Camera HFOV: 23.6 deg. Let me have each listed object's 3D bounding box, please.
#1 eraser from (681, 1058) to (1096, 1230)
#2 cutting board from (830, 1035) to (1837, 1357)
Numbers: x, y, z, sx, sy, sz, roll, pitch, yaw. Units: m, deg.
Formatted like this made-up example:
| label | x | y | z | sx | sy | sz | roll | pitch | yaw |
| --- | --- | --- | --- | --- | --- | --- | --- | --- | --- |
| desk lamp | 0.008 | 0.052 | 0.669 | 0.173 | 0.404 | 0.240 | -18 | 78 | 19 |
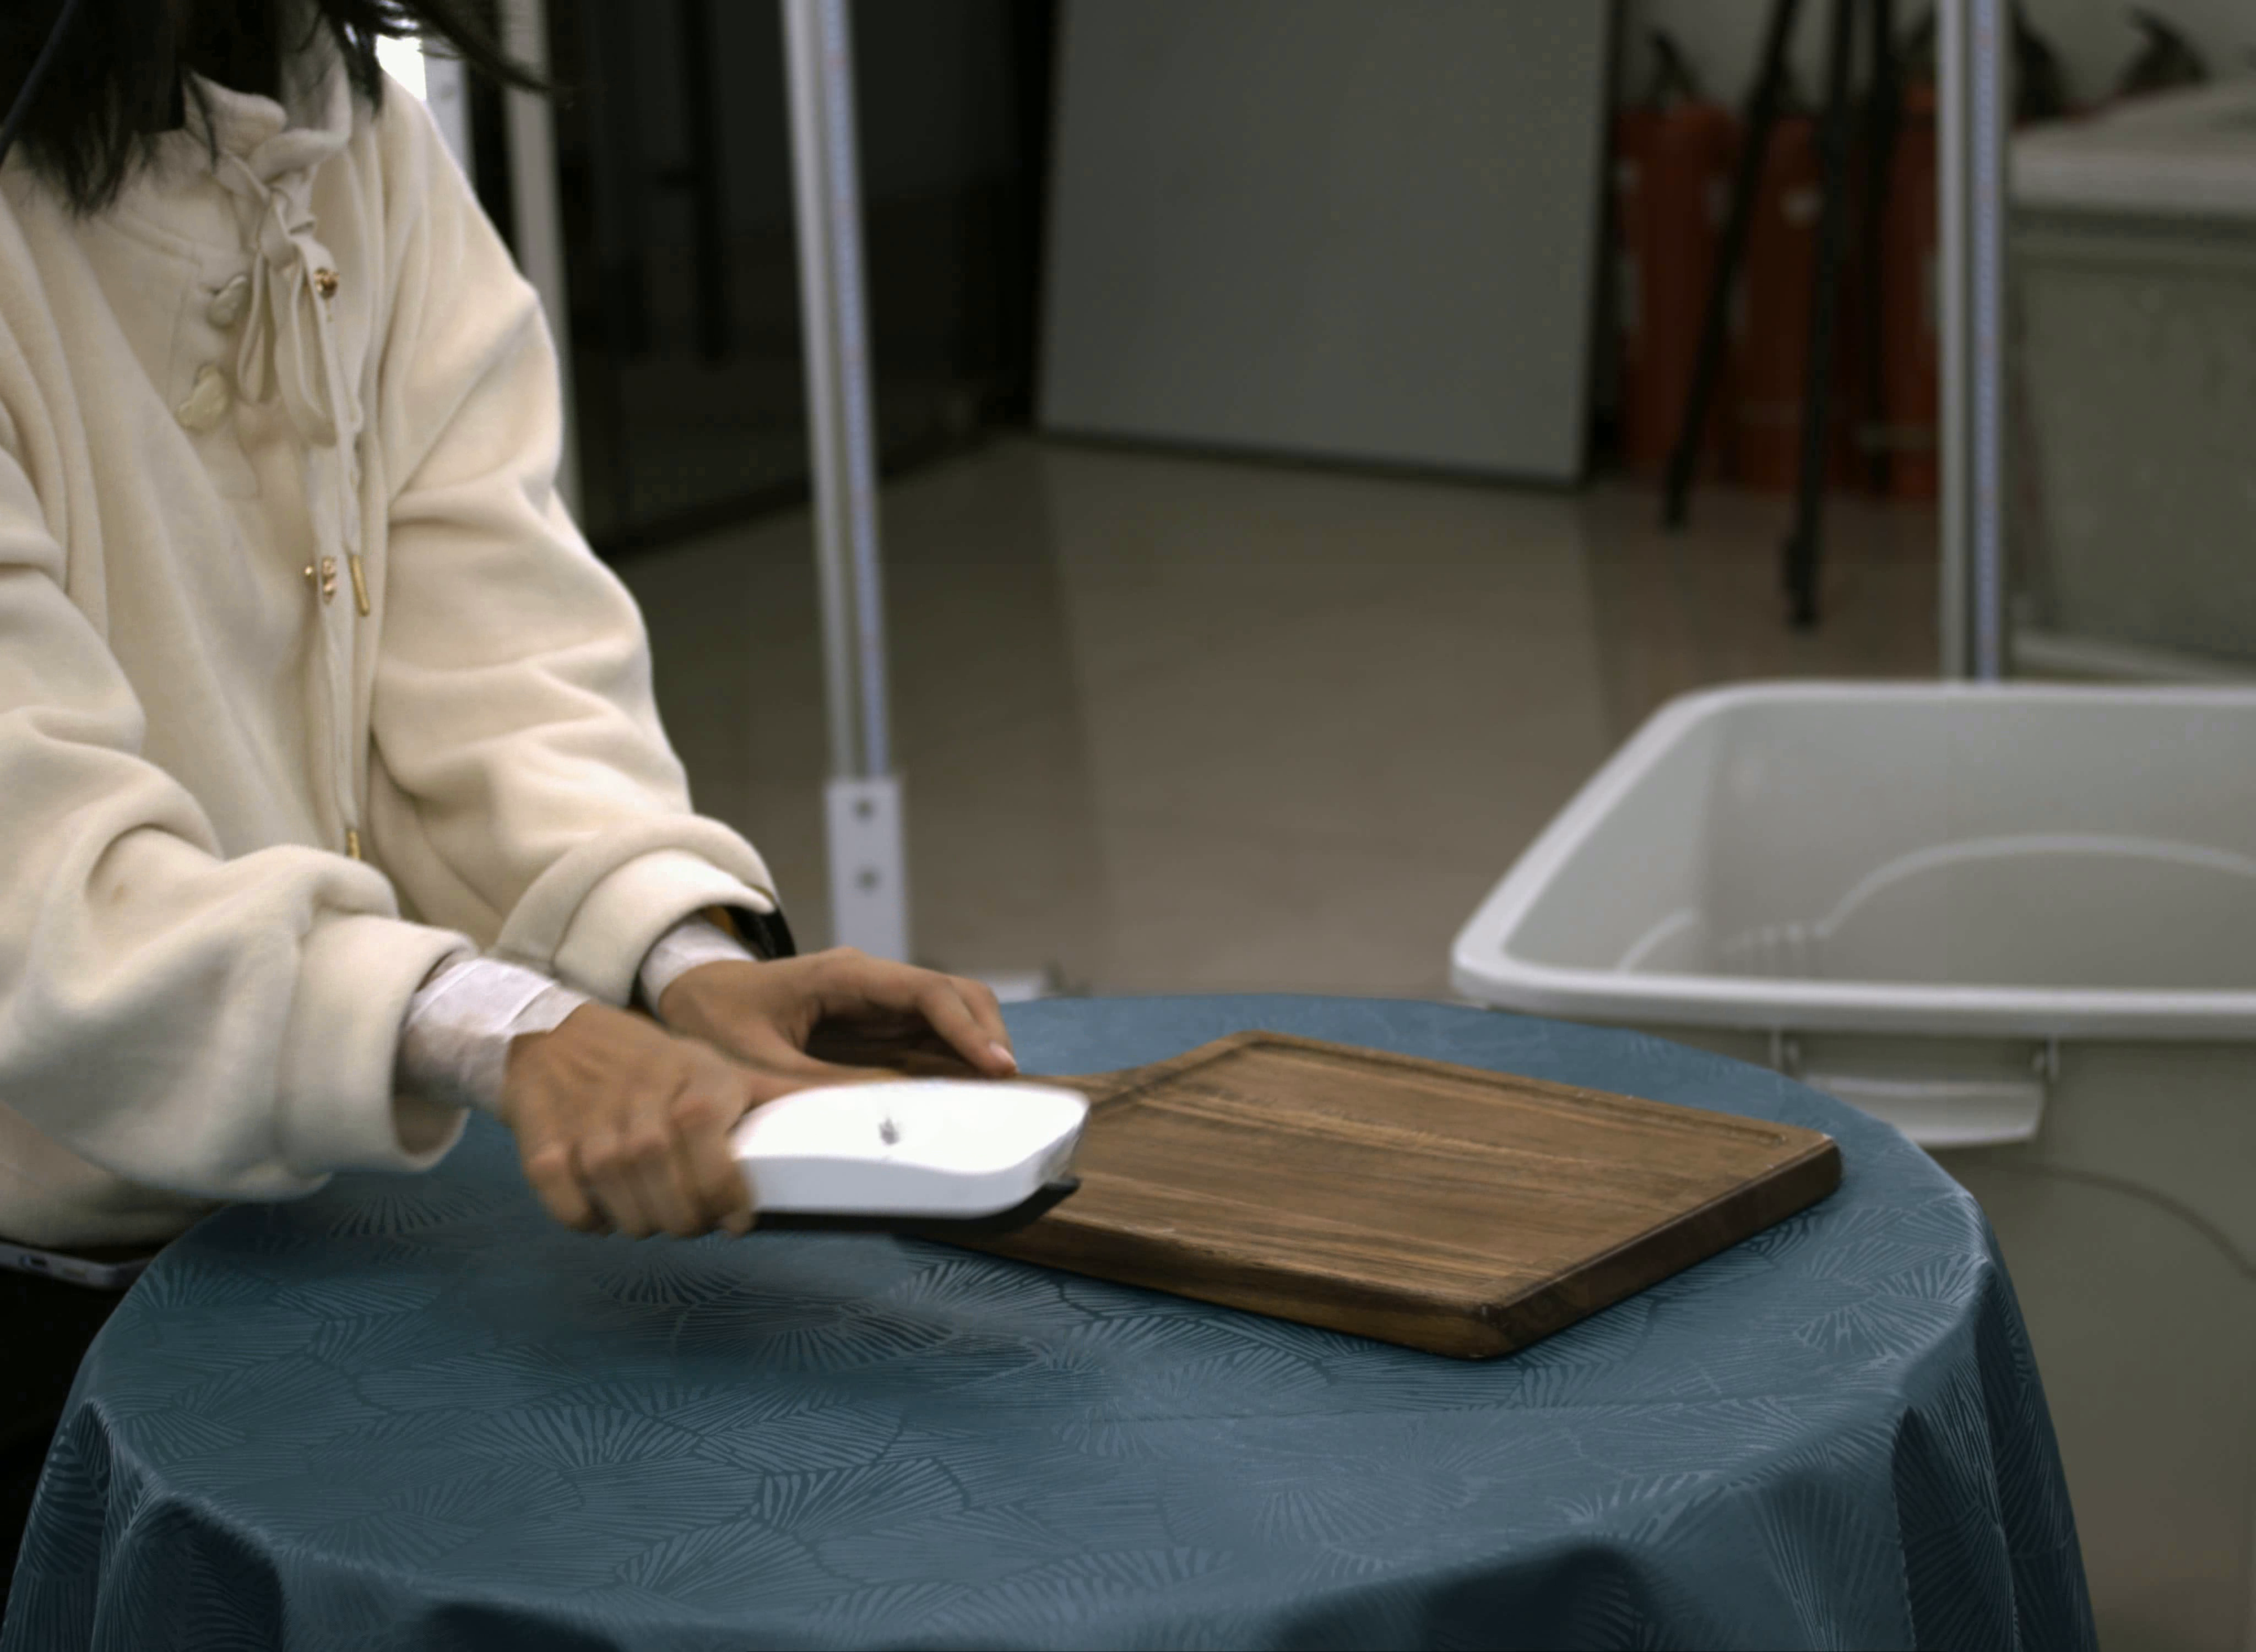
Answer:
| label | x | y | z | sx | sy | sz | roll | pitch | yaw |
| --- | --- | --- | --- | --- | --- | --- | --- | --- | --- |
| eraser | -0.072 | 0.098 | 1.650 | 0.132 | 0.035 | 0.062 | -2 | 18 | 36 |
| cutting board | 0.037 | 0.109 | 1.763 | 0.355 | 0.023 | 0.197 | 8 | 18 | 40 |
